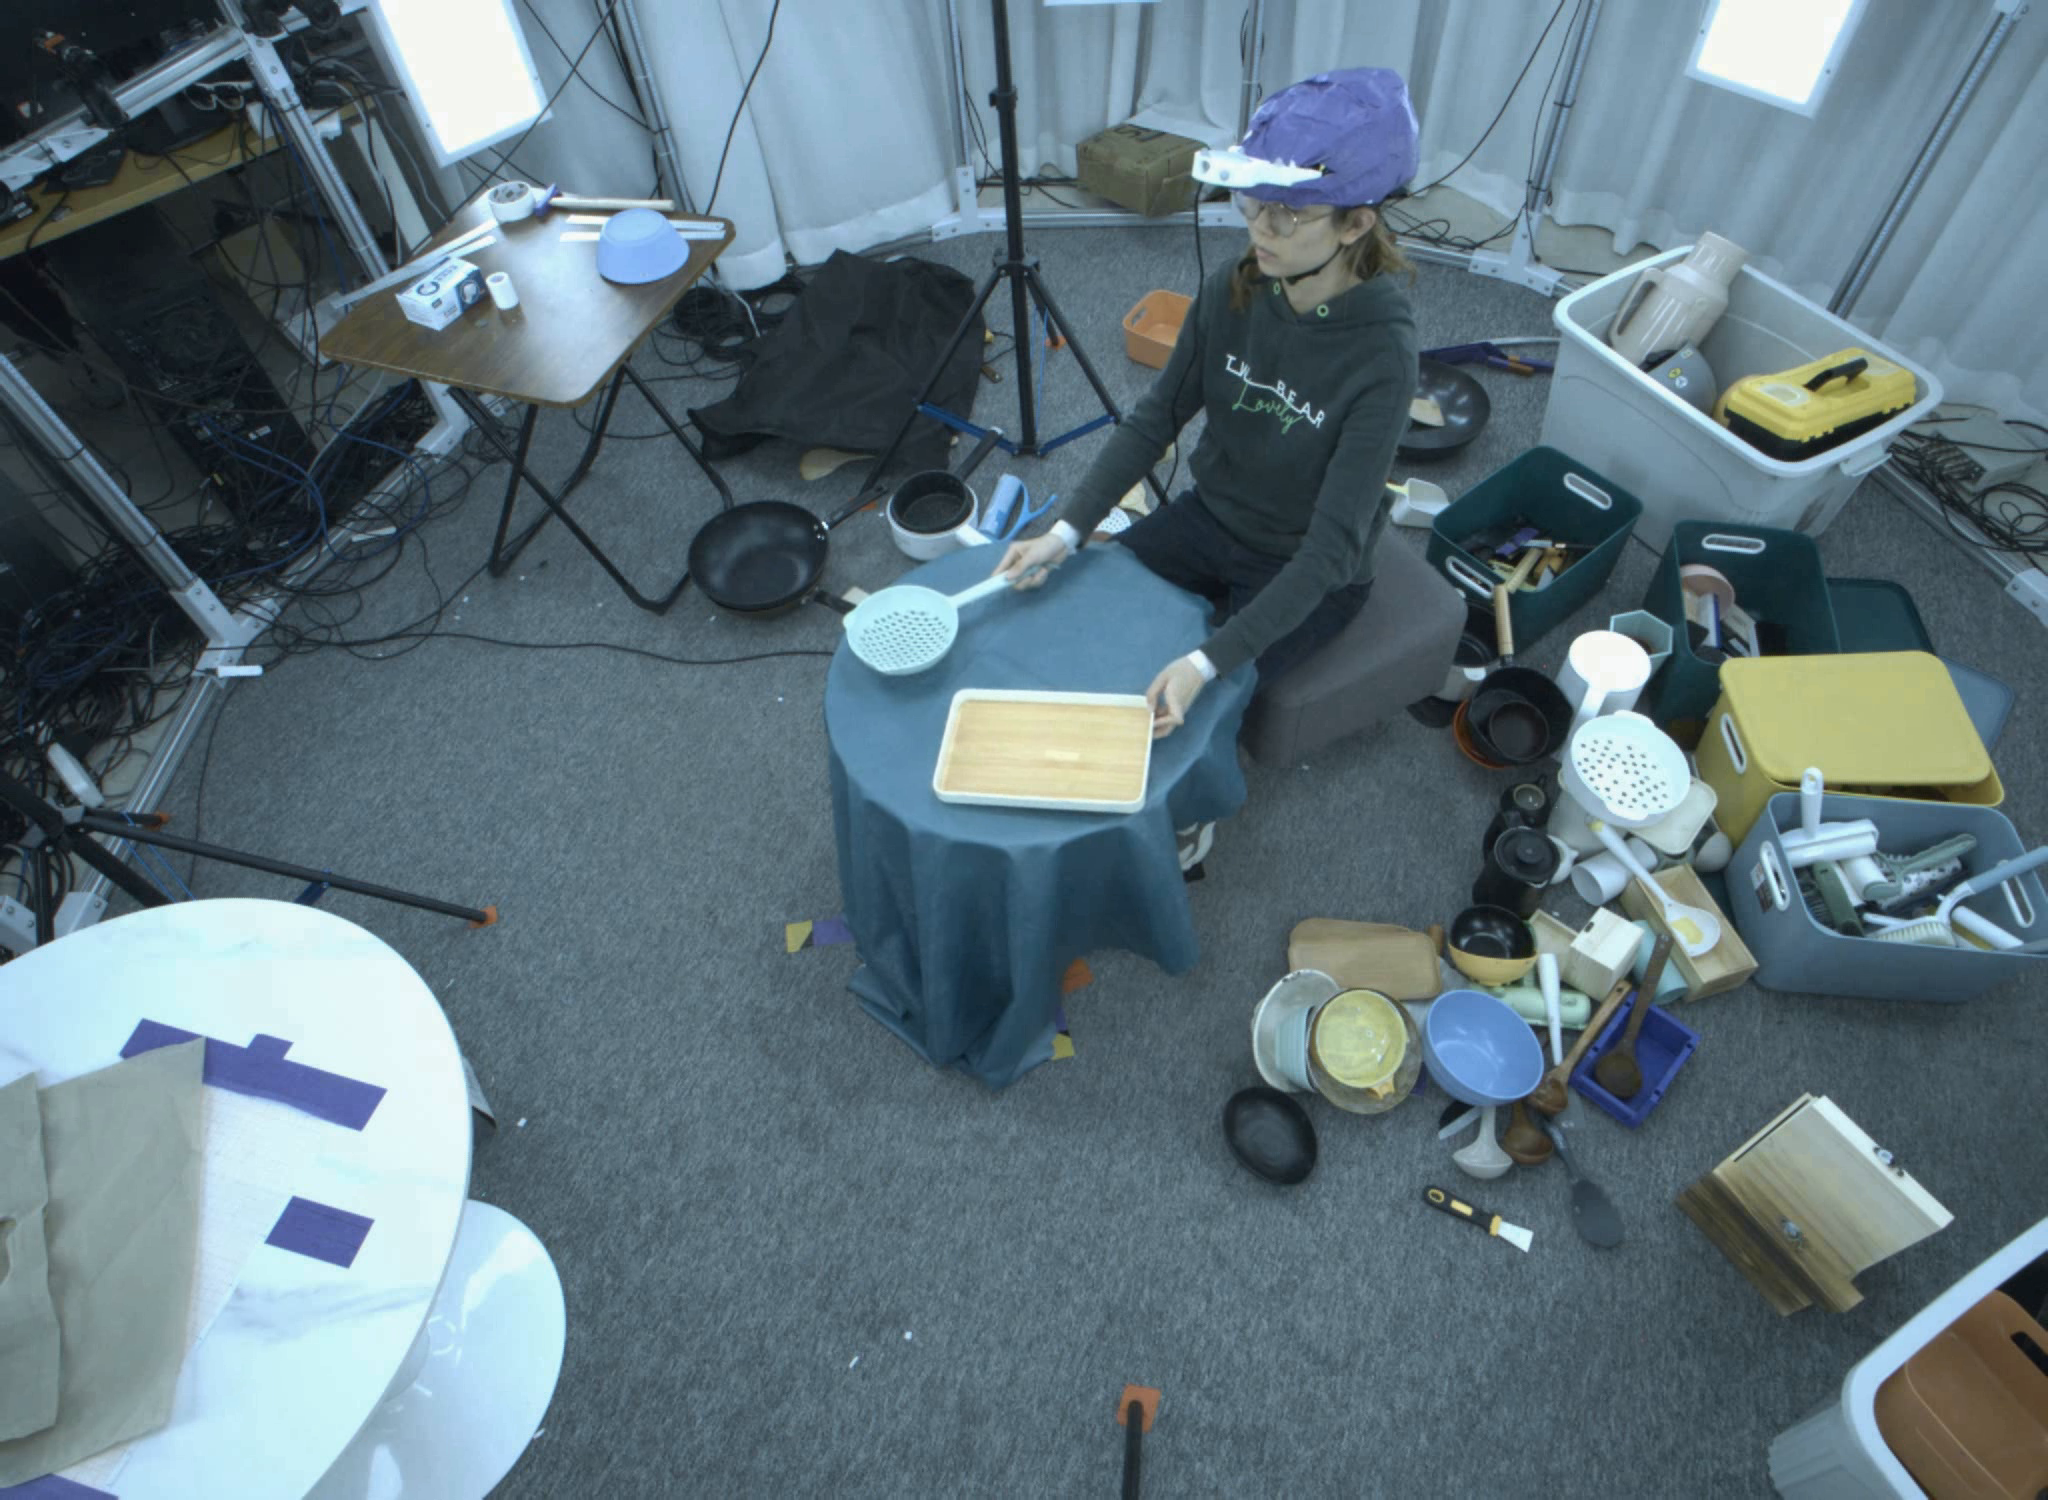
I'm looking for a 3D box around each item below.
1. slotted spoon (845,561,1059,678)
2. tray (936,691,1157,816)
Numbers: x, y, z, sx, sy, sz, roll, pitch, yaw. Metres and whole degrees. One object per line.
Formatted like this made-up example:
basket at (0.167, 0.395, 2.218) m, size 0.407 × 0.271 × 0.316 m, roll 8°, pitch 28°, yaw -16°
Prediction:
slotted spoon at (-0.100, -0.221, 1.904) m, size 0.360 × 0.076 × 0.166 m, roll -33°, pitch 60°, yaw -12°
tray at (0.035, 0.002, 1.766) m, size 0.298 × 0.028 × 0.190 m, roll 4°, pitch 55°, yaw 9°
